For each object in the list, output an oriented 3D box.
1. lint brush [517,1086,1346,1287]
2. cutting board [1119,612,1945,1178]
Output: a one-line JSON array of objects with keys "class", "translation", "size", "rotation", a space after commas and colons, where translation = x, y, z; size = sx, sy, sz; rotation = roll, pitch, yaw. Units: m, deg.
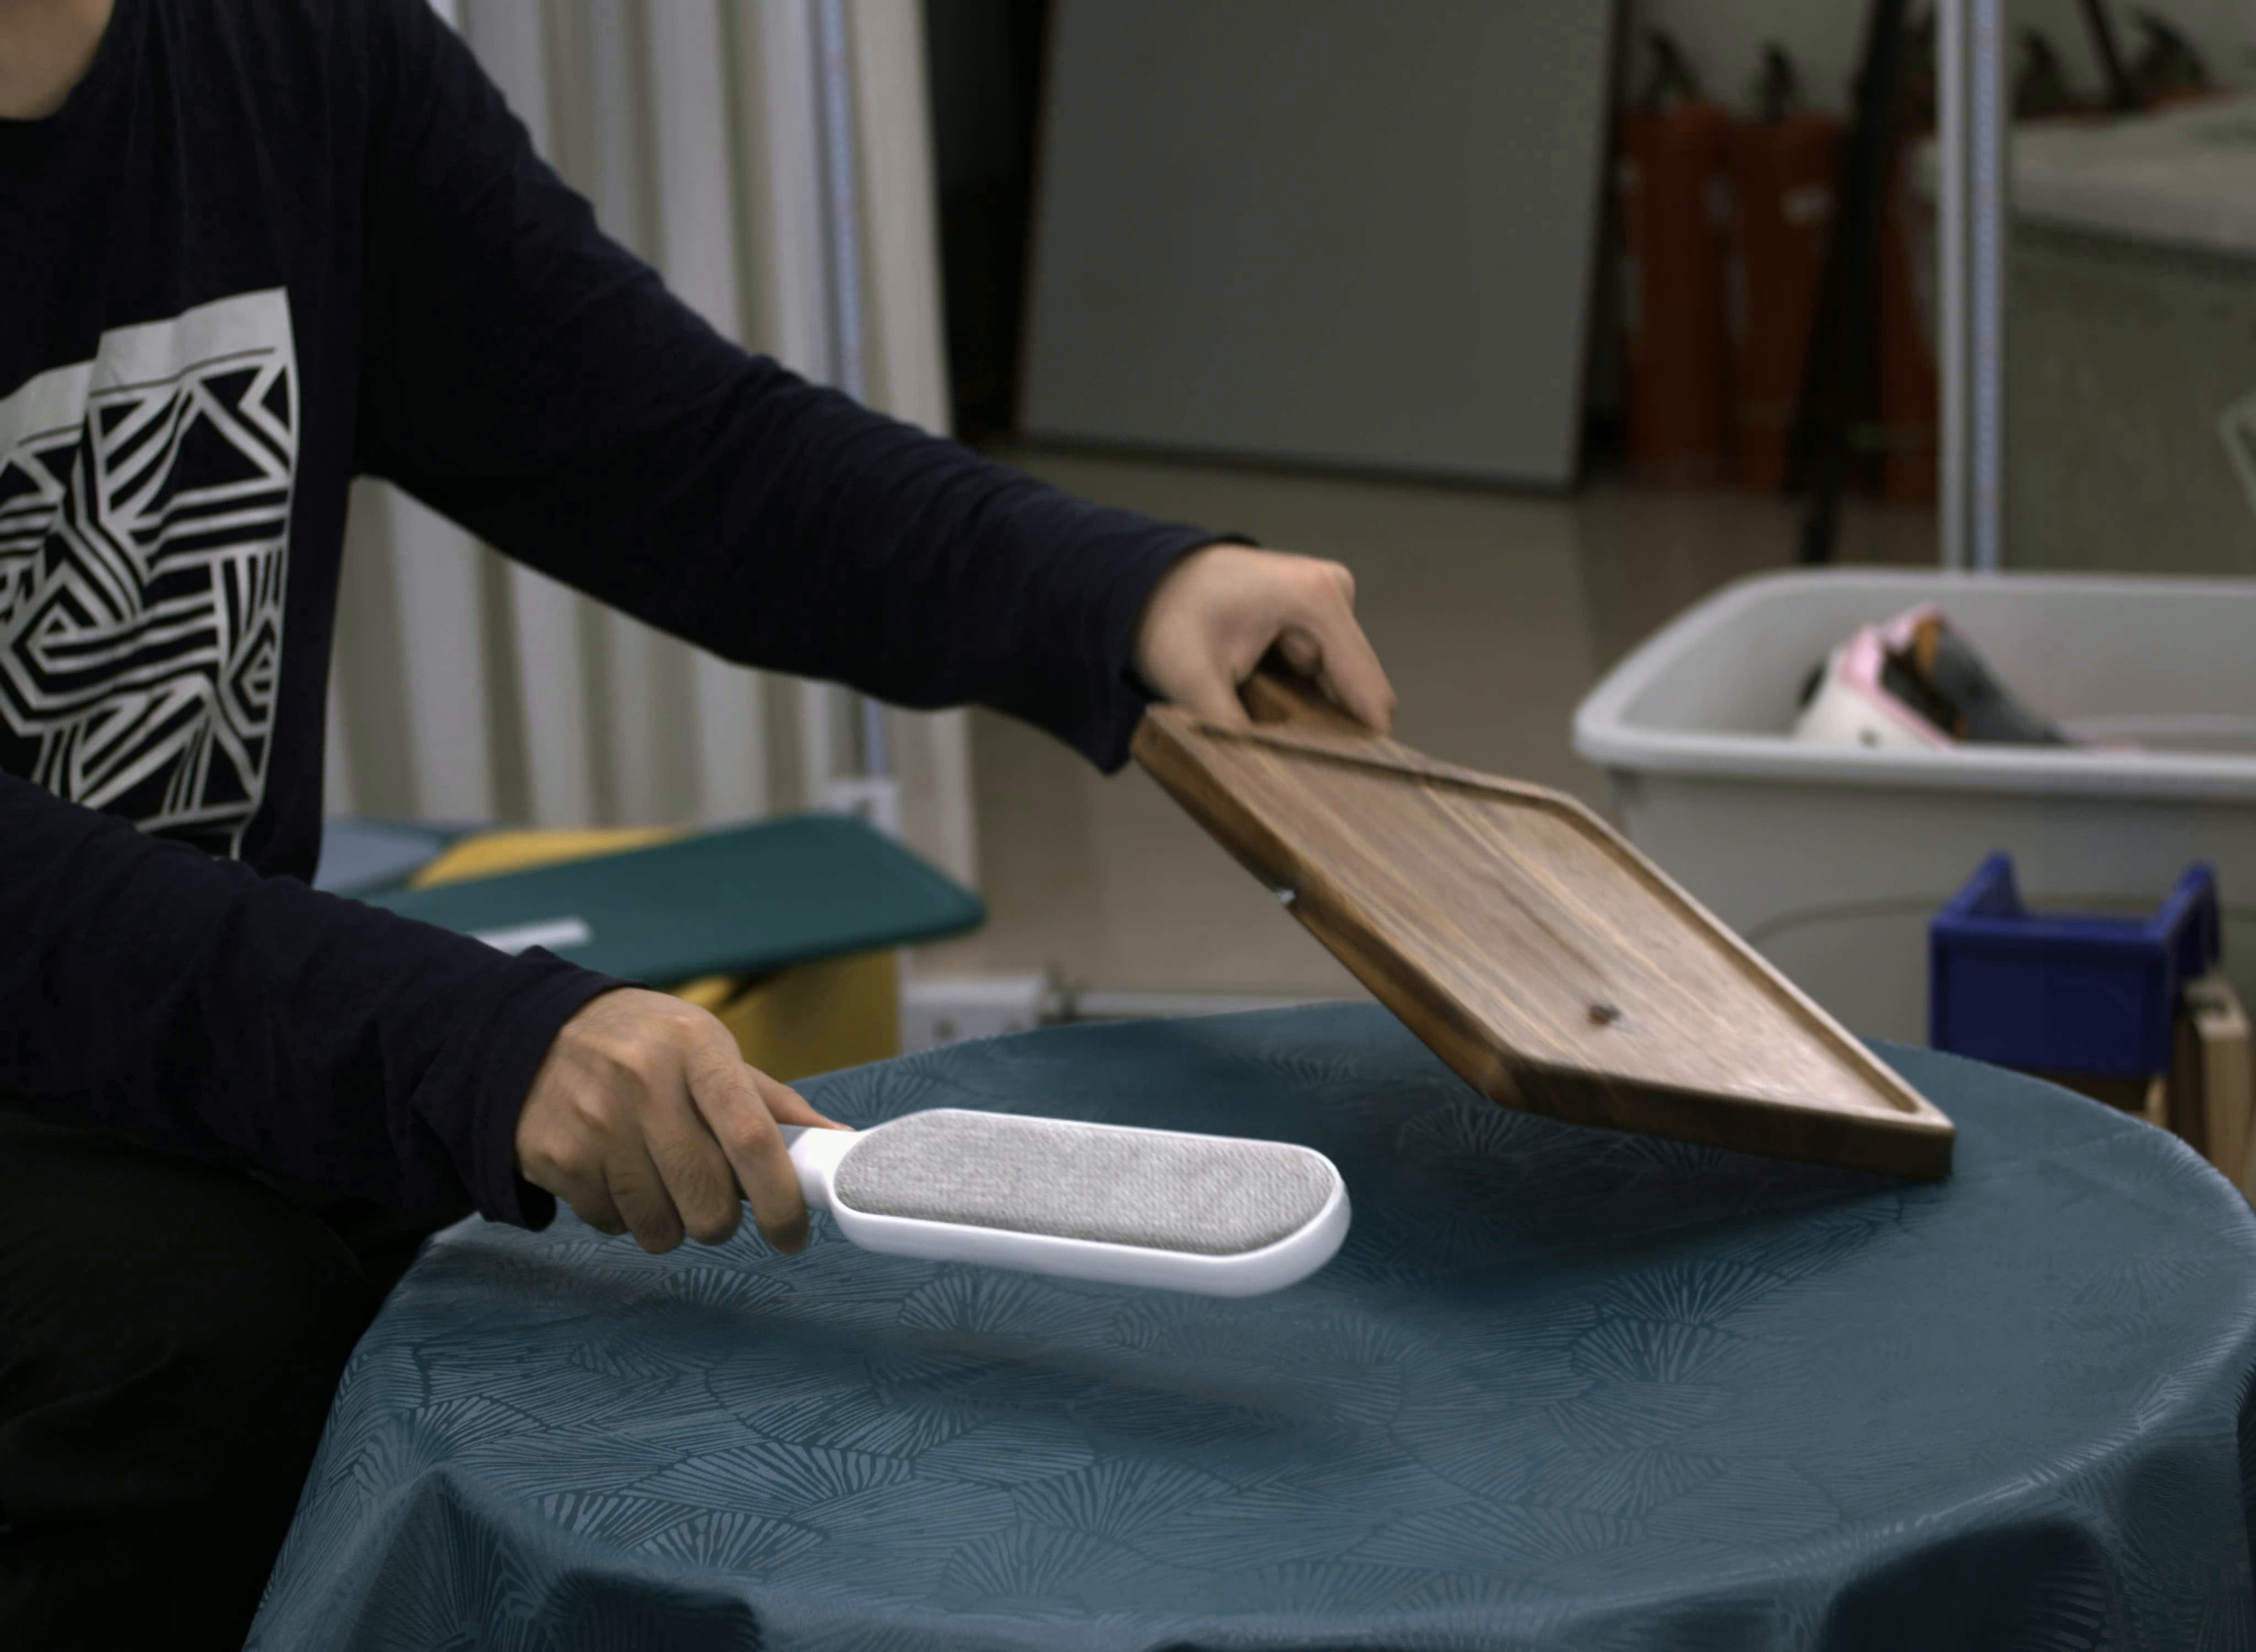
[{"class": "lint brush", "translation": [-0.066, 0.103, 1.632], "size": [0.311, 0.021, 0.060], "rotation": [3, 42, 37]}, {"class": "cutting board", "translation": [0.109, 0.011, 1.811], "size": [0.196, 0.023, 0.356], "rotation": [13, 20, -34]}]
